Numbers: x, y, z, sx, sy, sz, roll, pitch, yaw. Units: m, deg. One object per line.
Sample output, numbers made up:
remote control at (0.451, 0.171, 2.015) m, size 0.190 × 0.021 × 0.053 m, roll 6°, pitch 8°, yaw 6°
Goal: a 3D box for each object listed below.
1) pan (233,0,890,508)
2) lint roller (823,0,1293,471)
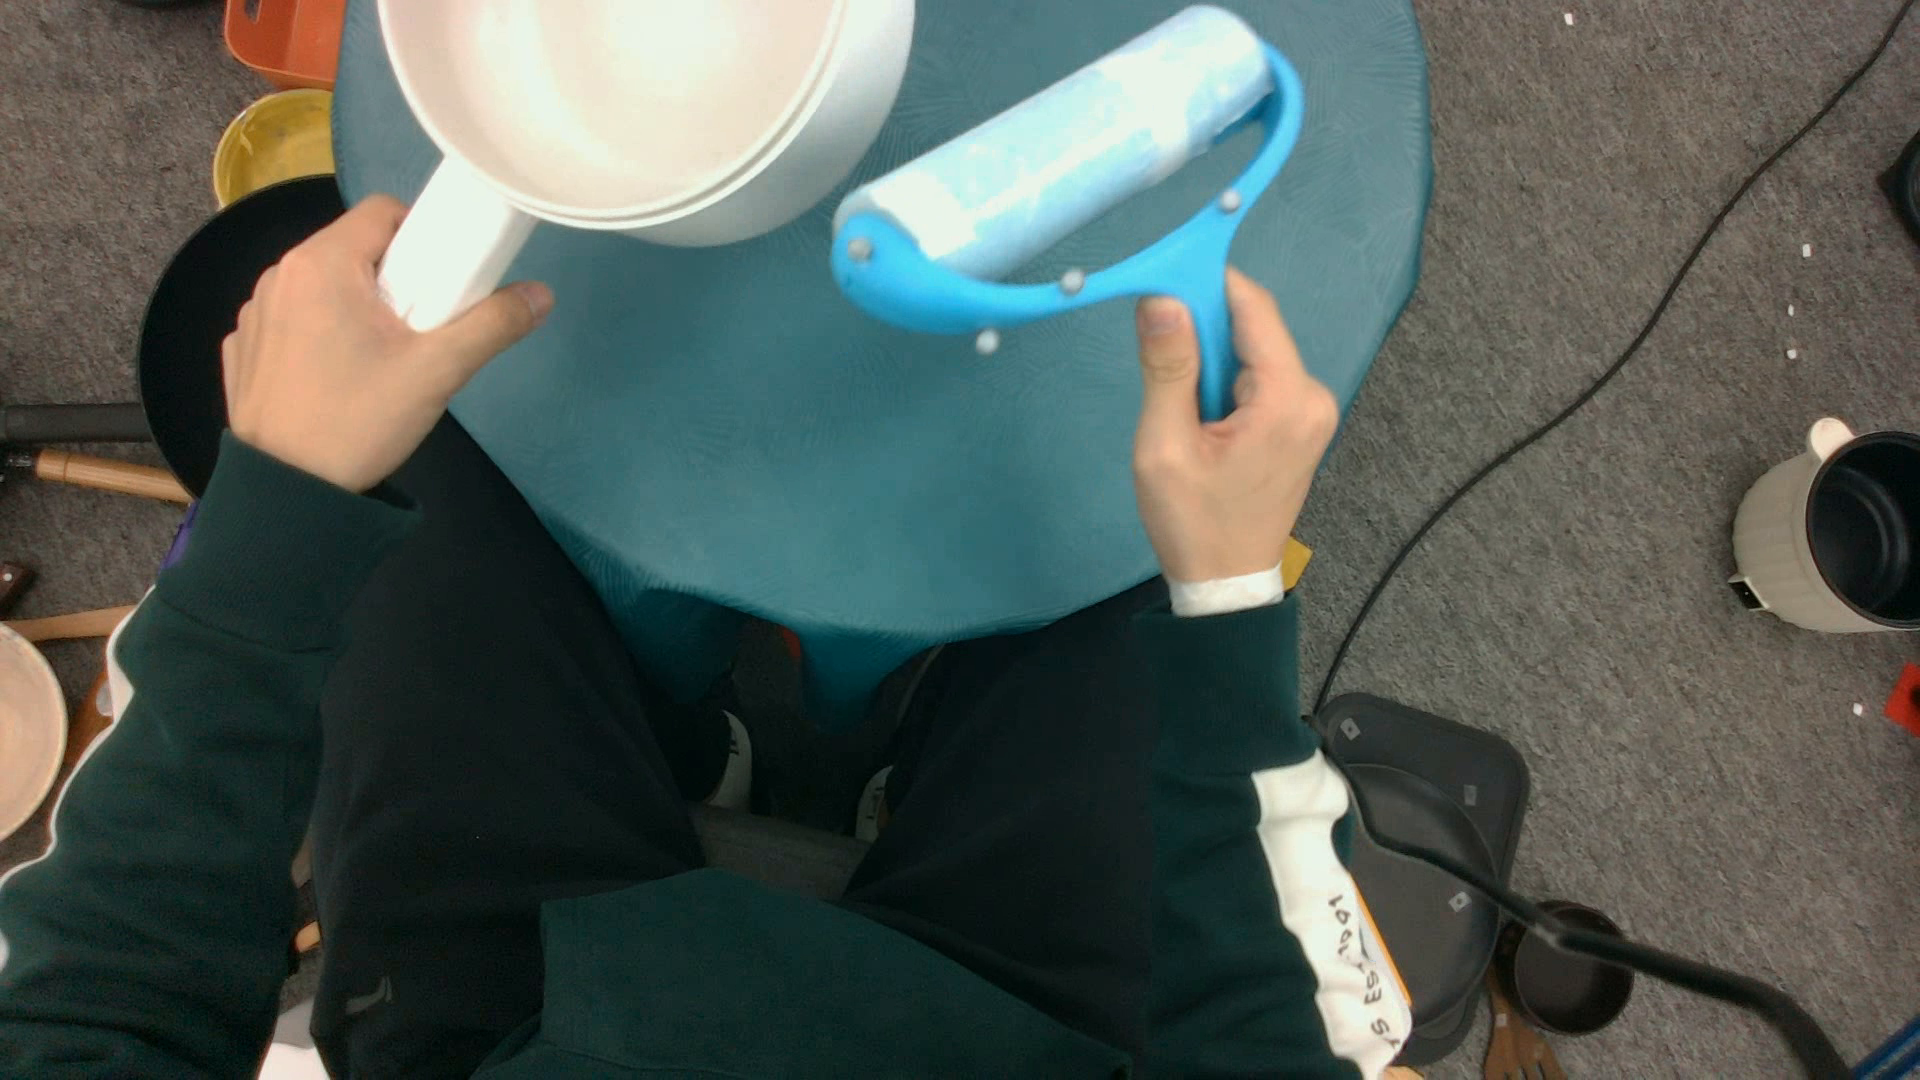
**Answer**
pan at (-0.174, -0.164, 0.577) m, size 0.201 × 0.102 × 0.354 m, roll 38°, pitch 101°, yaw 7°
lint roller at (0.072, -0.112, 0.548) m, size 0.230 × 0.067 × 0.180 m, roll -39°, pitch 101°, yaw -29°
